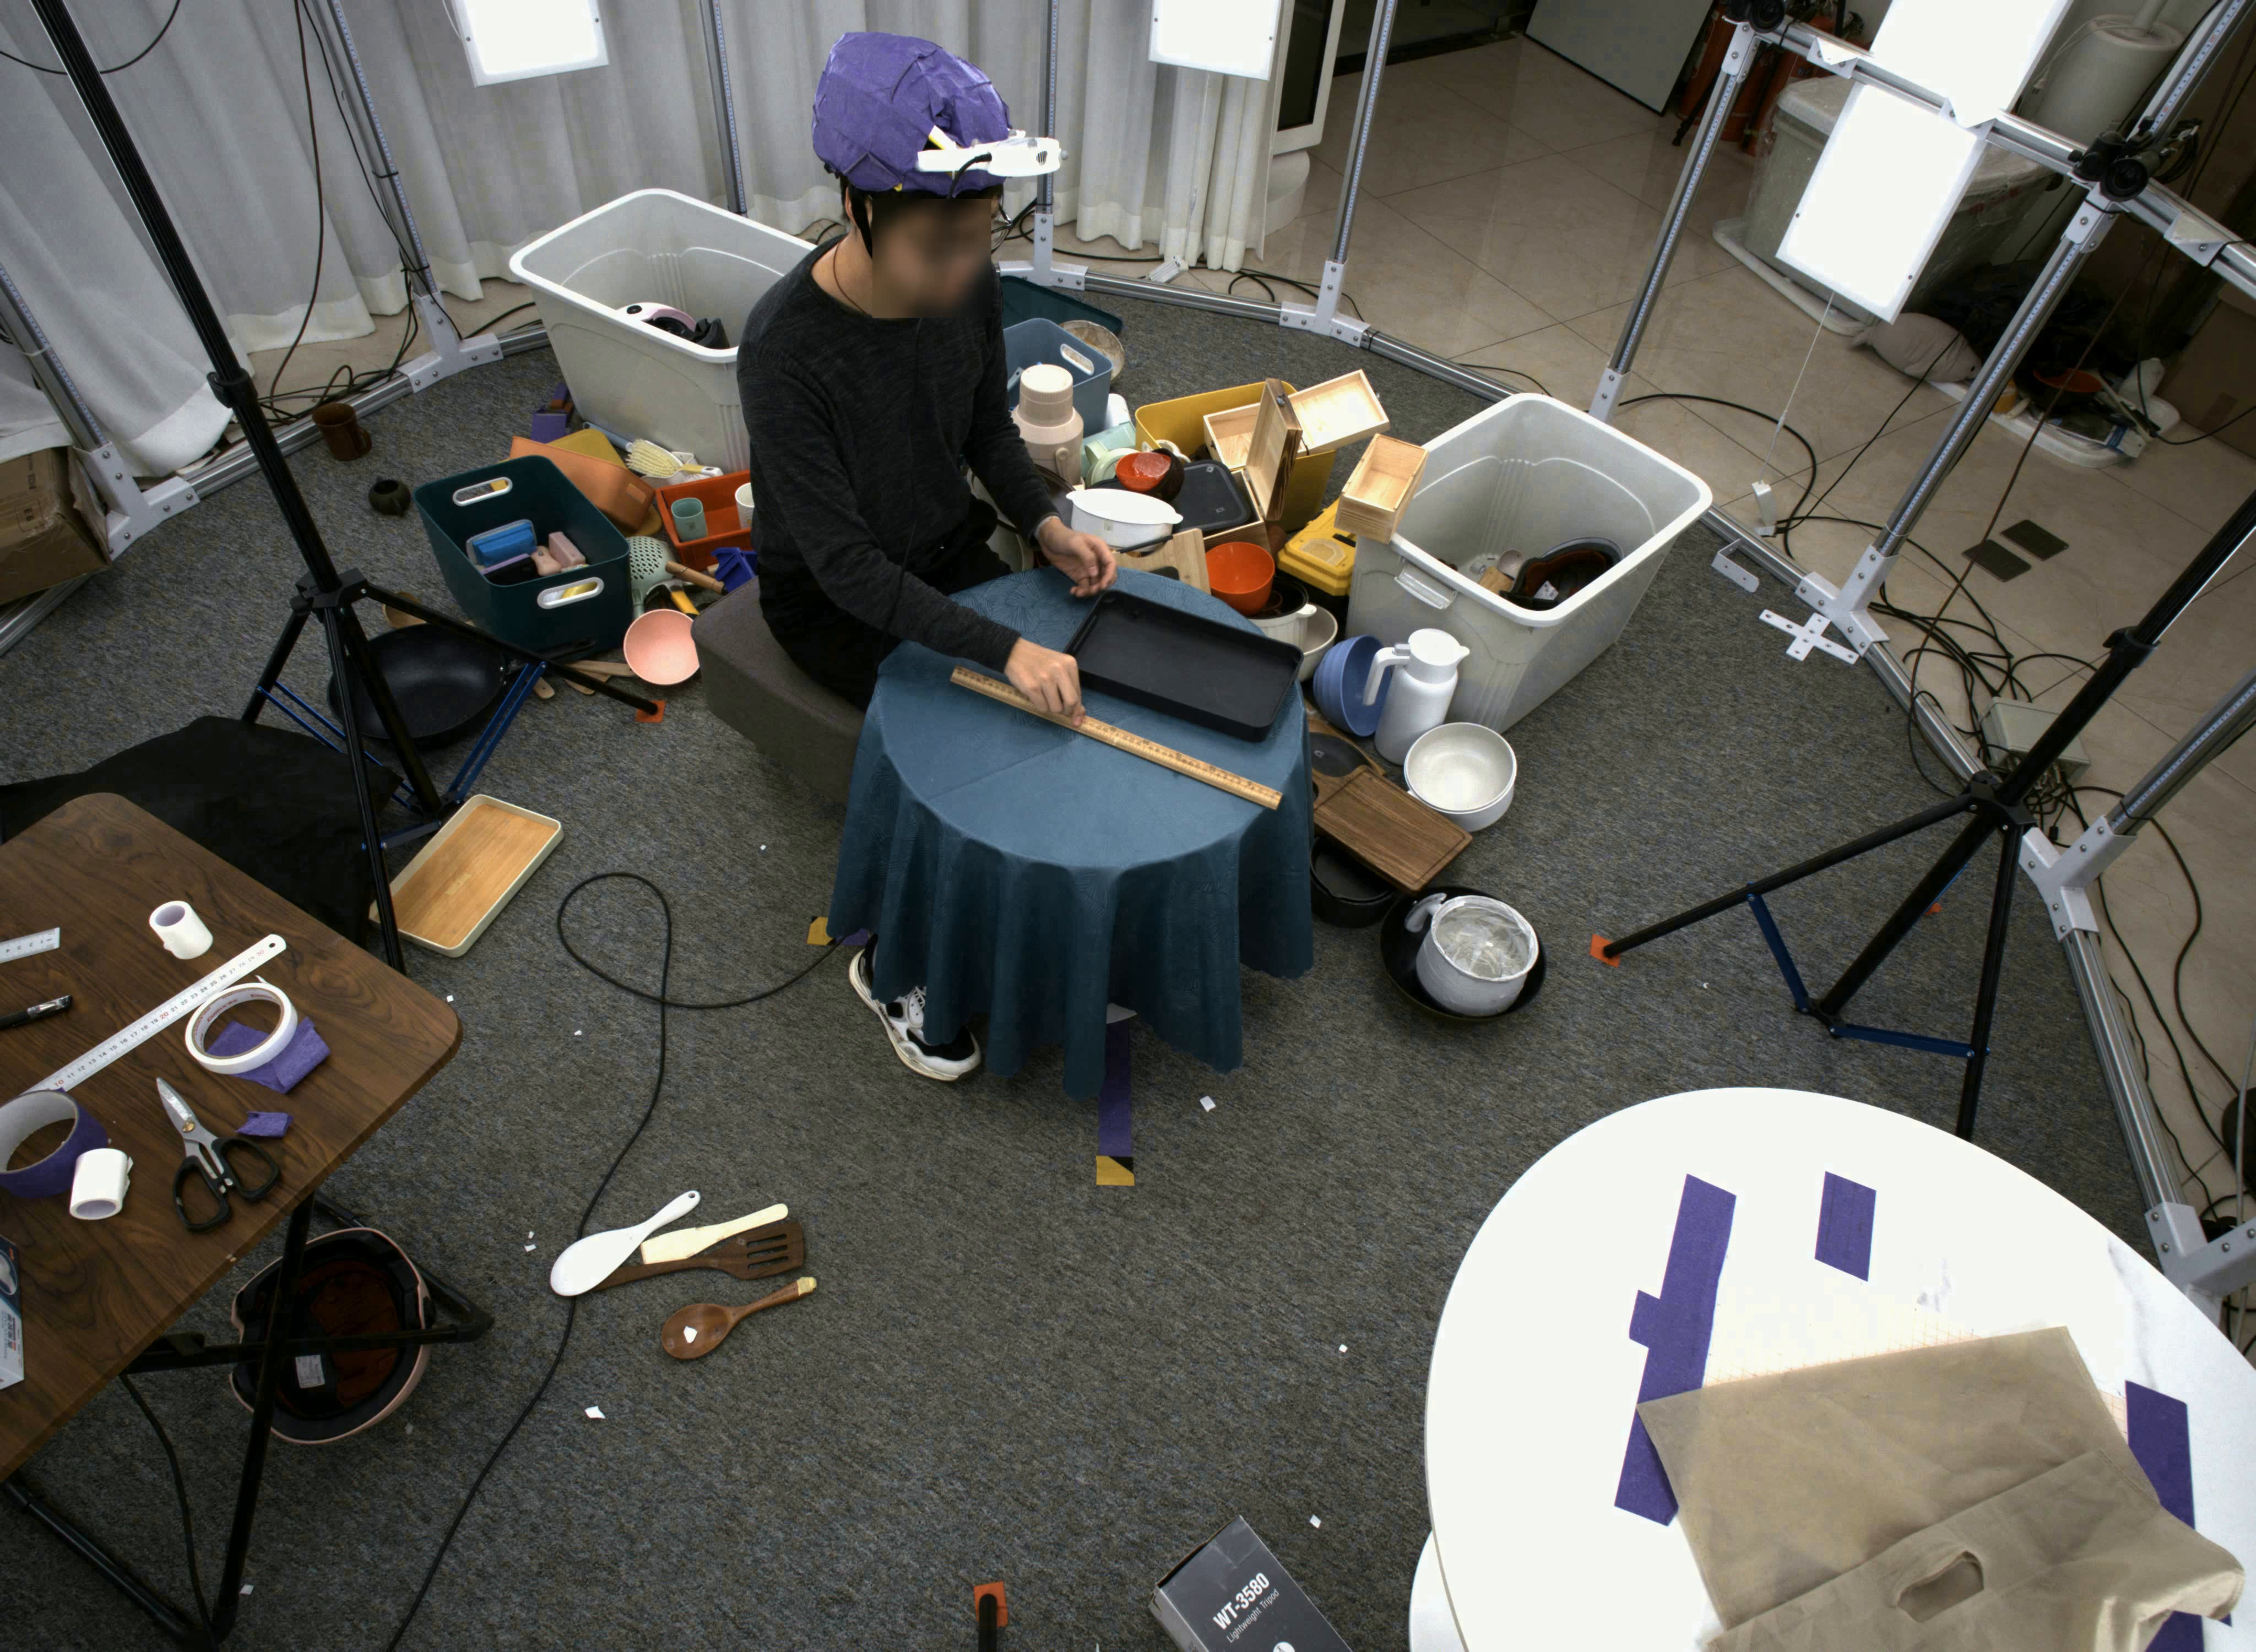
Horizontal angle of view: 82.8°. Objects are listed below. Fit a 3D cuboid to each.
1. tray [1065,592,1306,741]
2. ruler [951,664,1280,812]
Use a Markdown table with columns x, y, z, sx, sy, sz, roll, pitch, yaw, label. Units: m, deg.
| x | y | z | sx | sy | sz | roll | pitch | yaw | label |
| --- | --- | --- | --- | --- | --- | --- | --- | --- | --- |
| 0.084 | -0.233 | 1.855 | 0.319 | 0.036 | 0.188 | 18 | 50 | 12 | tray |
| -0.024 | -0.125 | 1.763 | 0.504 | 0.006 | 0.027 | 23 | 95 | 15 | ruler |
